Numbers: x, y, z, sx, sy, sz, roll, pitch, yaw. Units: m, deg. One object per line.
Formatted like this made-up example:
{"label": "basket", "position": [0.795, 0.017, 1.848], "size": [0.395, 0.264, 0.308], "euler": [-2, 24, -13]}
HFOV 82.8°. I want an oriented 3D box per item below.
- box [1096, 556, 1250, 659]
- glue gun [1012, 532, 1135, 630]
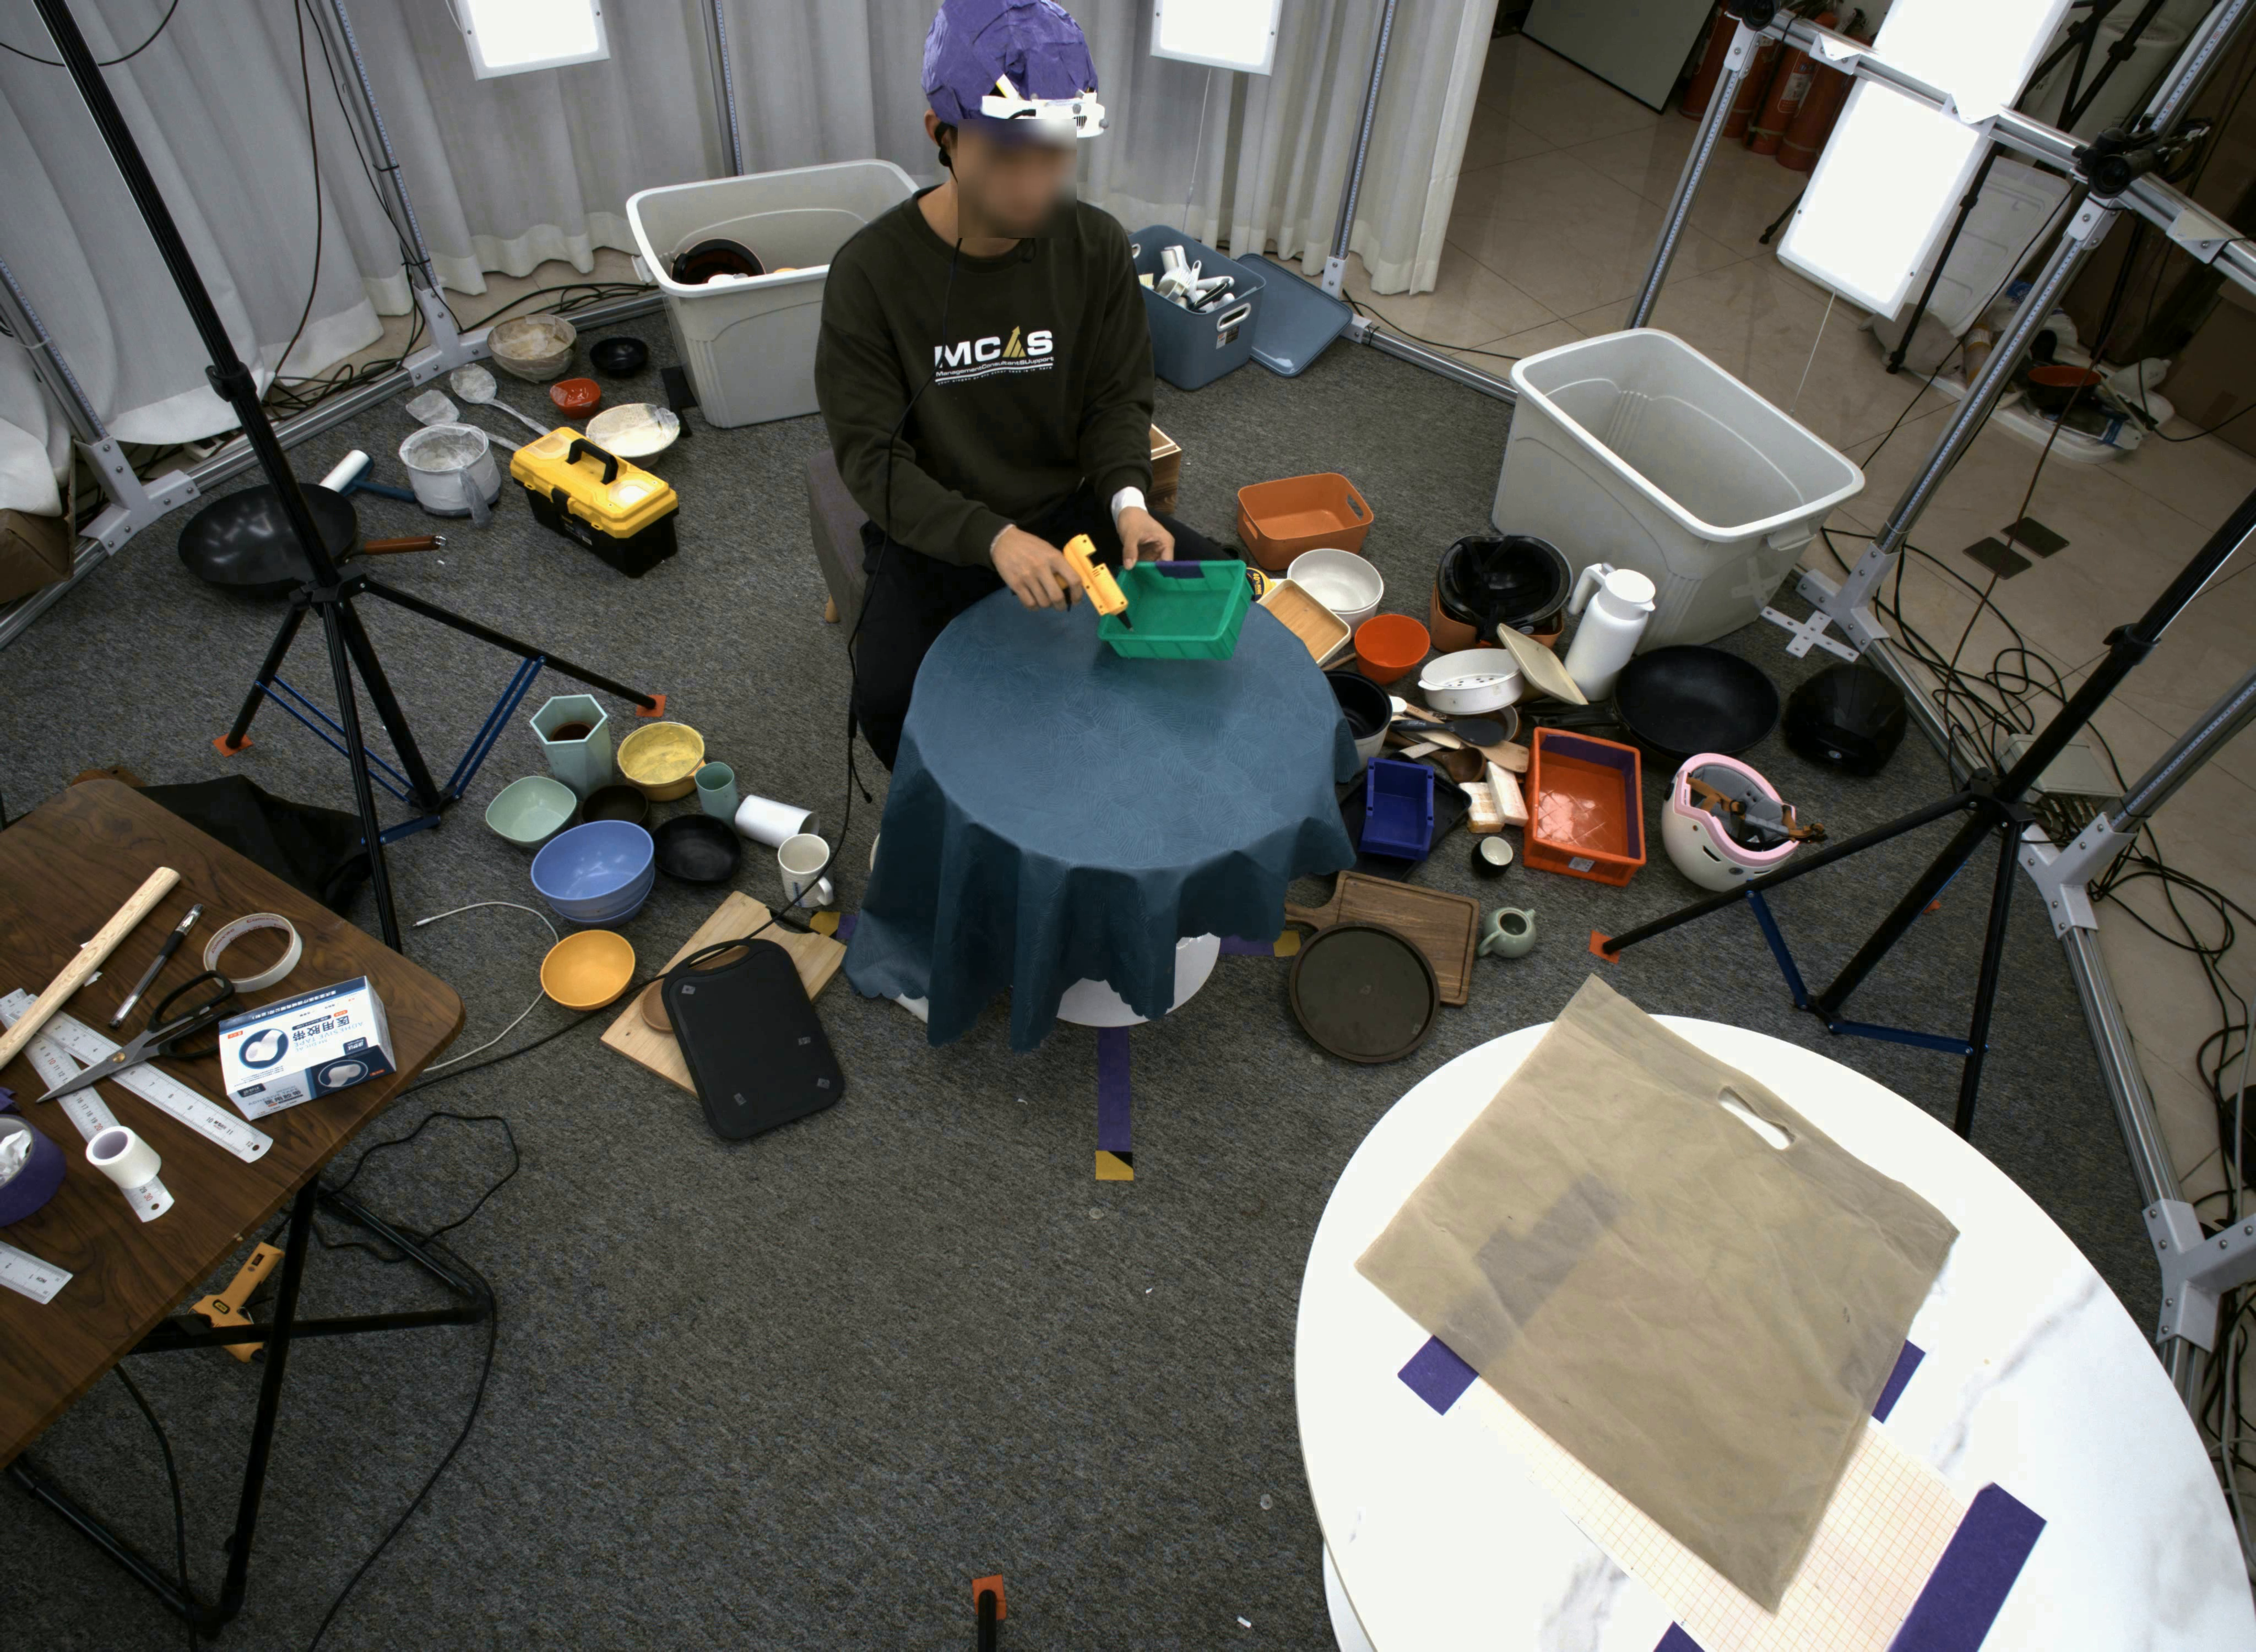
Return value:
{"label": "box", "position": [0.068, -0.306, 1.830], "size": [0.211, 0.064, 0.141], "euler": [2, 59, 33]}
{"label": "glue gun", "position": [-0.067, -0.311, 1.790], "size": [0.132, 0.031, 0.151], "euler": [-36, 90, 9]}
